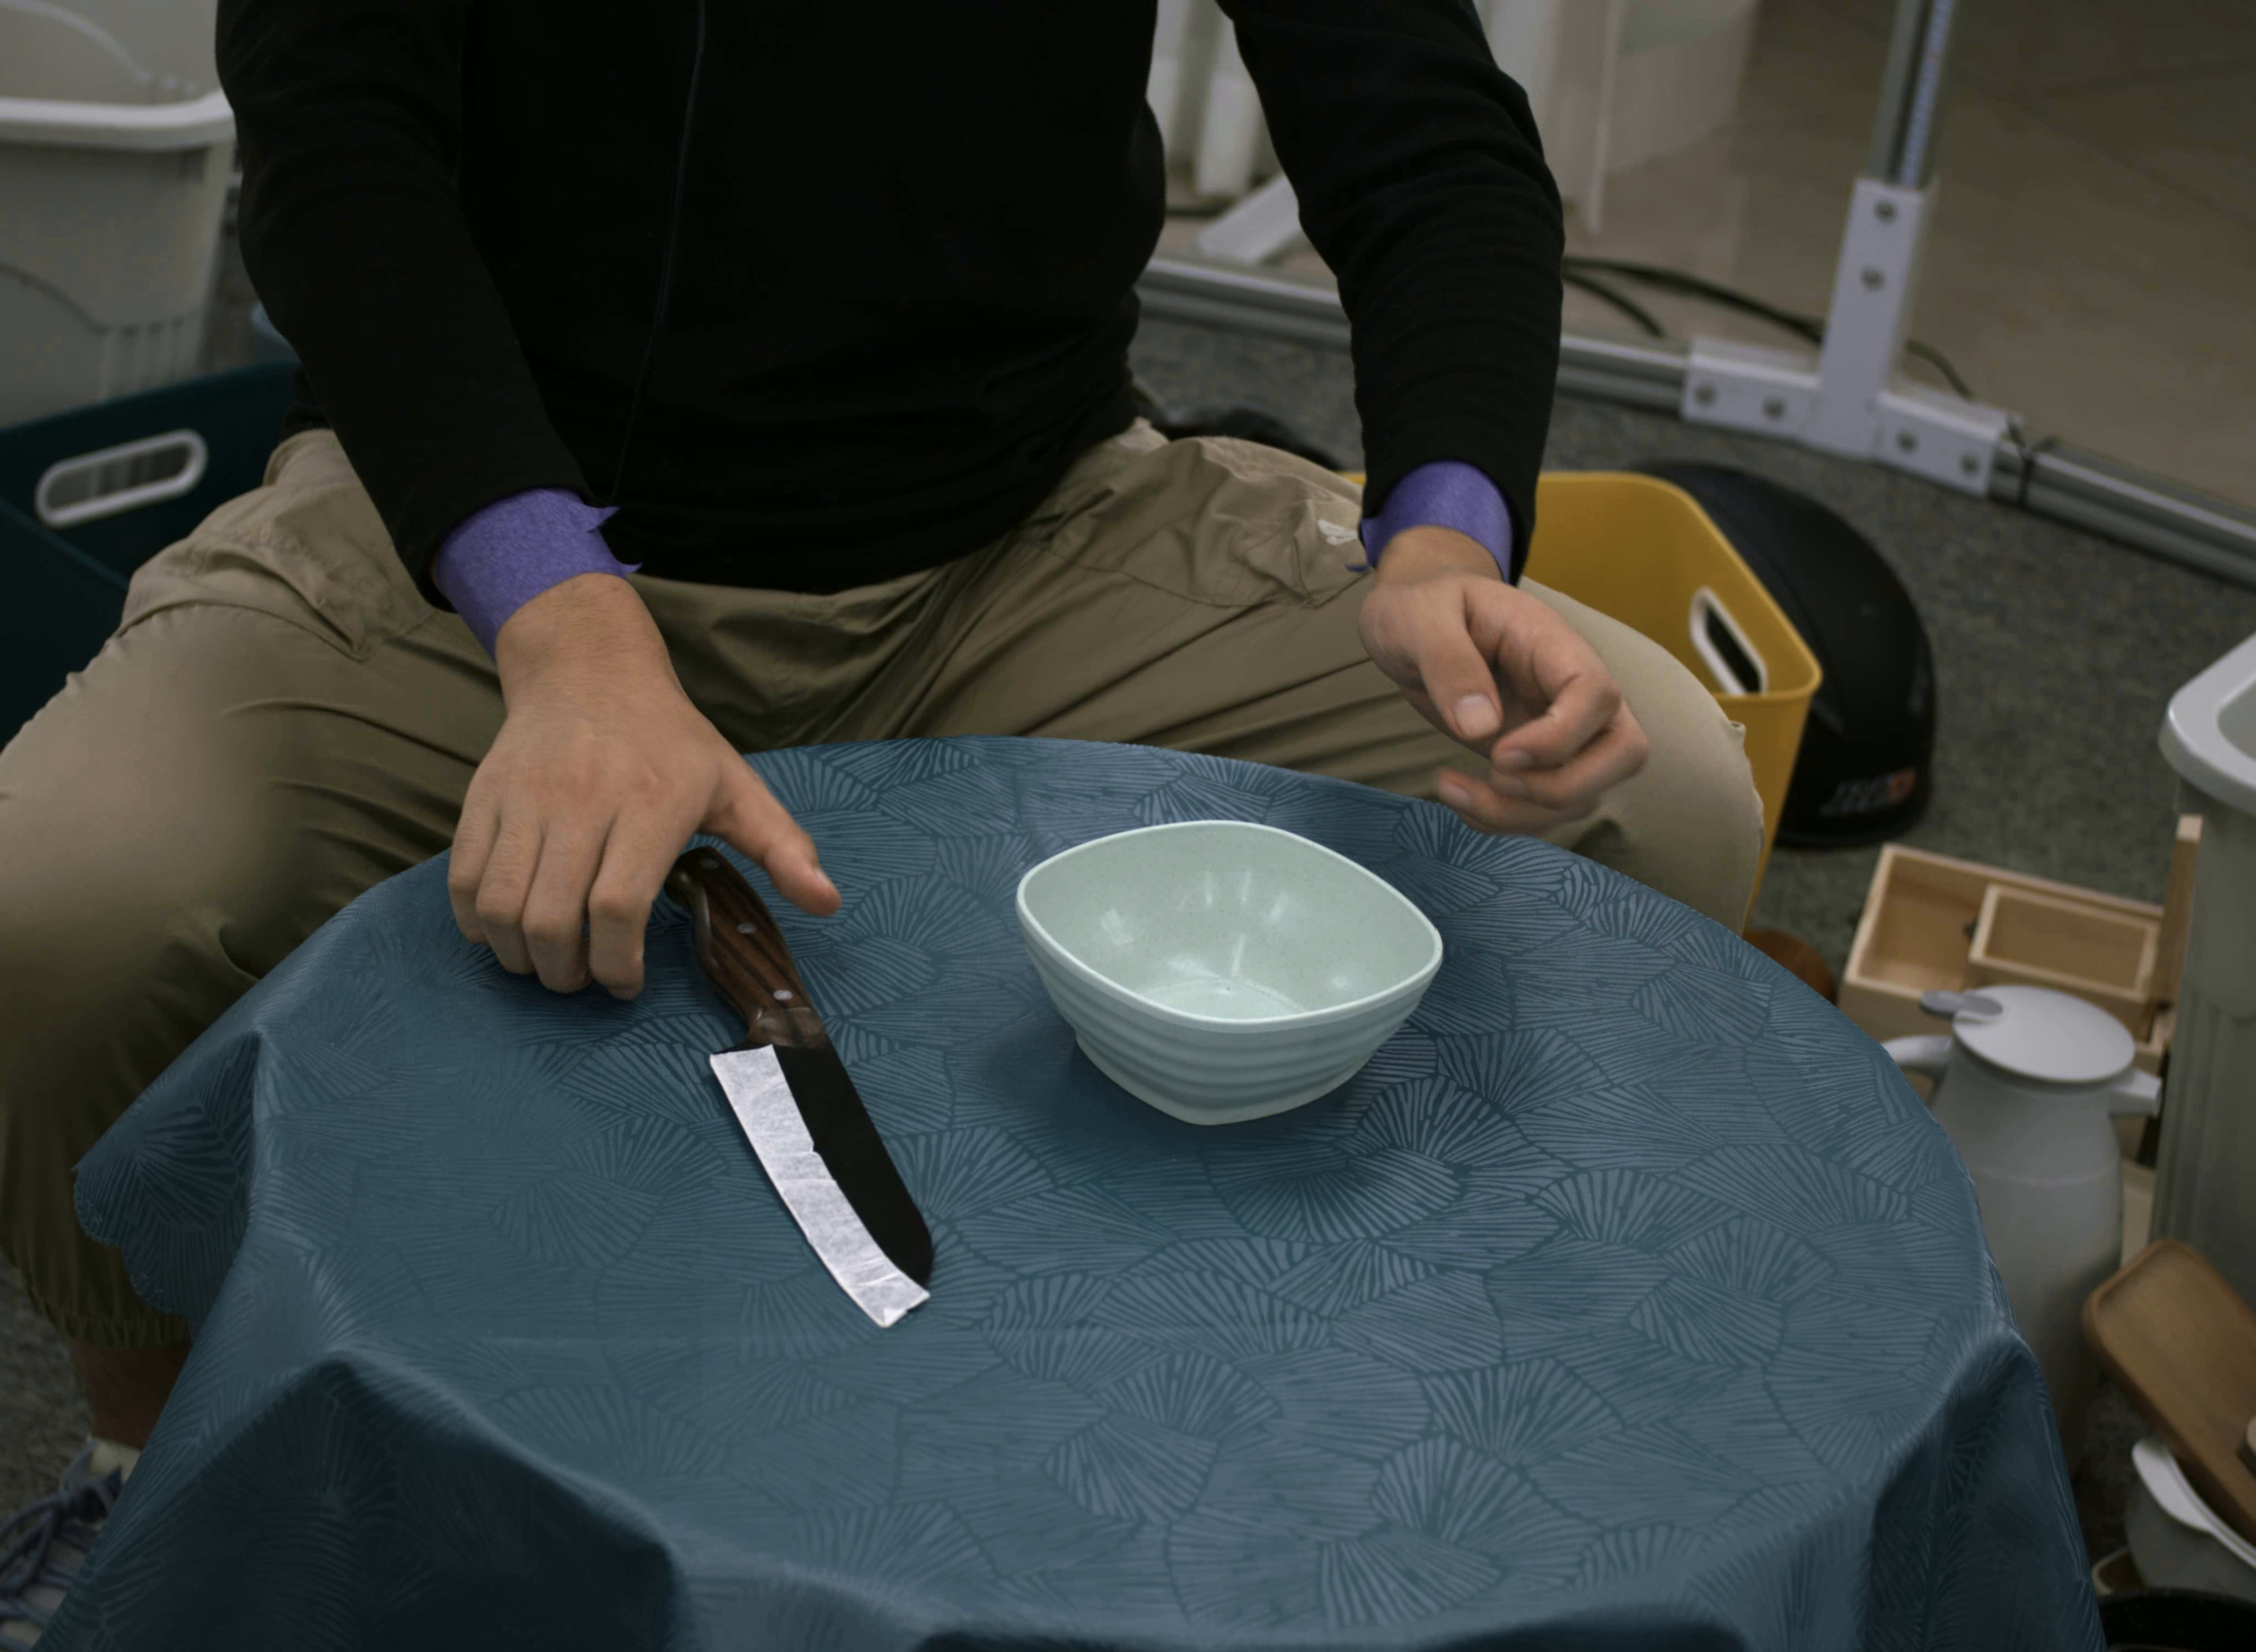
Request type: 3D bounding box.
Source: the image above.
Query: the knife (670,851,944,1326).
[{"bbox_3d":[-0.115,0.088,1.833,0.050,0.020,0.292,-7,32,-15],"label":"knife"}]

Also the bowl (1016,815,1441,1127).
[{"bbox_3d":[0.032,0.057,1.881,0.151,0.058,0.152,6,28,-4],"label":"bowl"}]
